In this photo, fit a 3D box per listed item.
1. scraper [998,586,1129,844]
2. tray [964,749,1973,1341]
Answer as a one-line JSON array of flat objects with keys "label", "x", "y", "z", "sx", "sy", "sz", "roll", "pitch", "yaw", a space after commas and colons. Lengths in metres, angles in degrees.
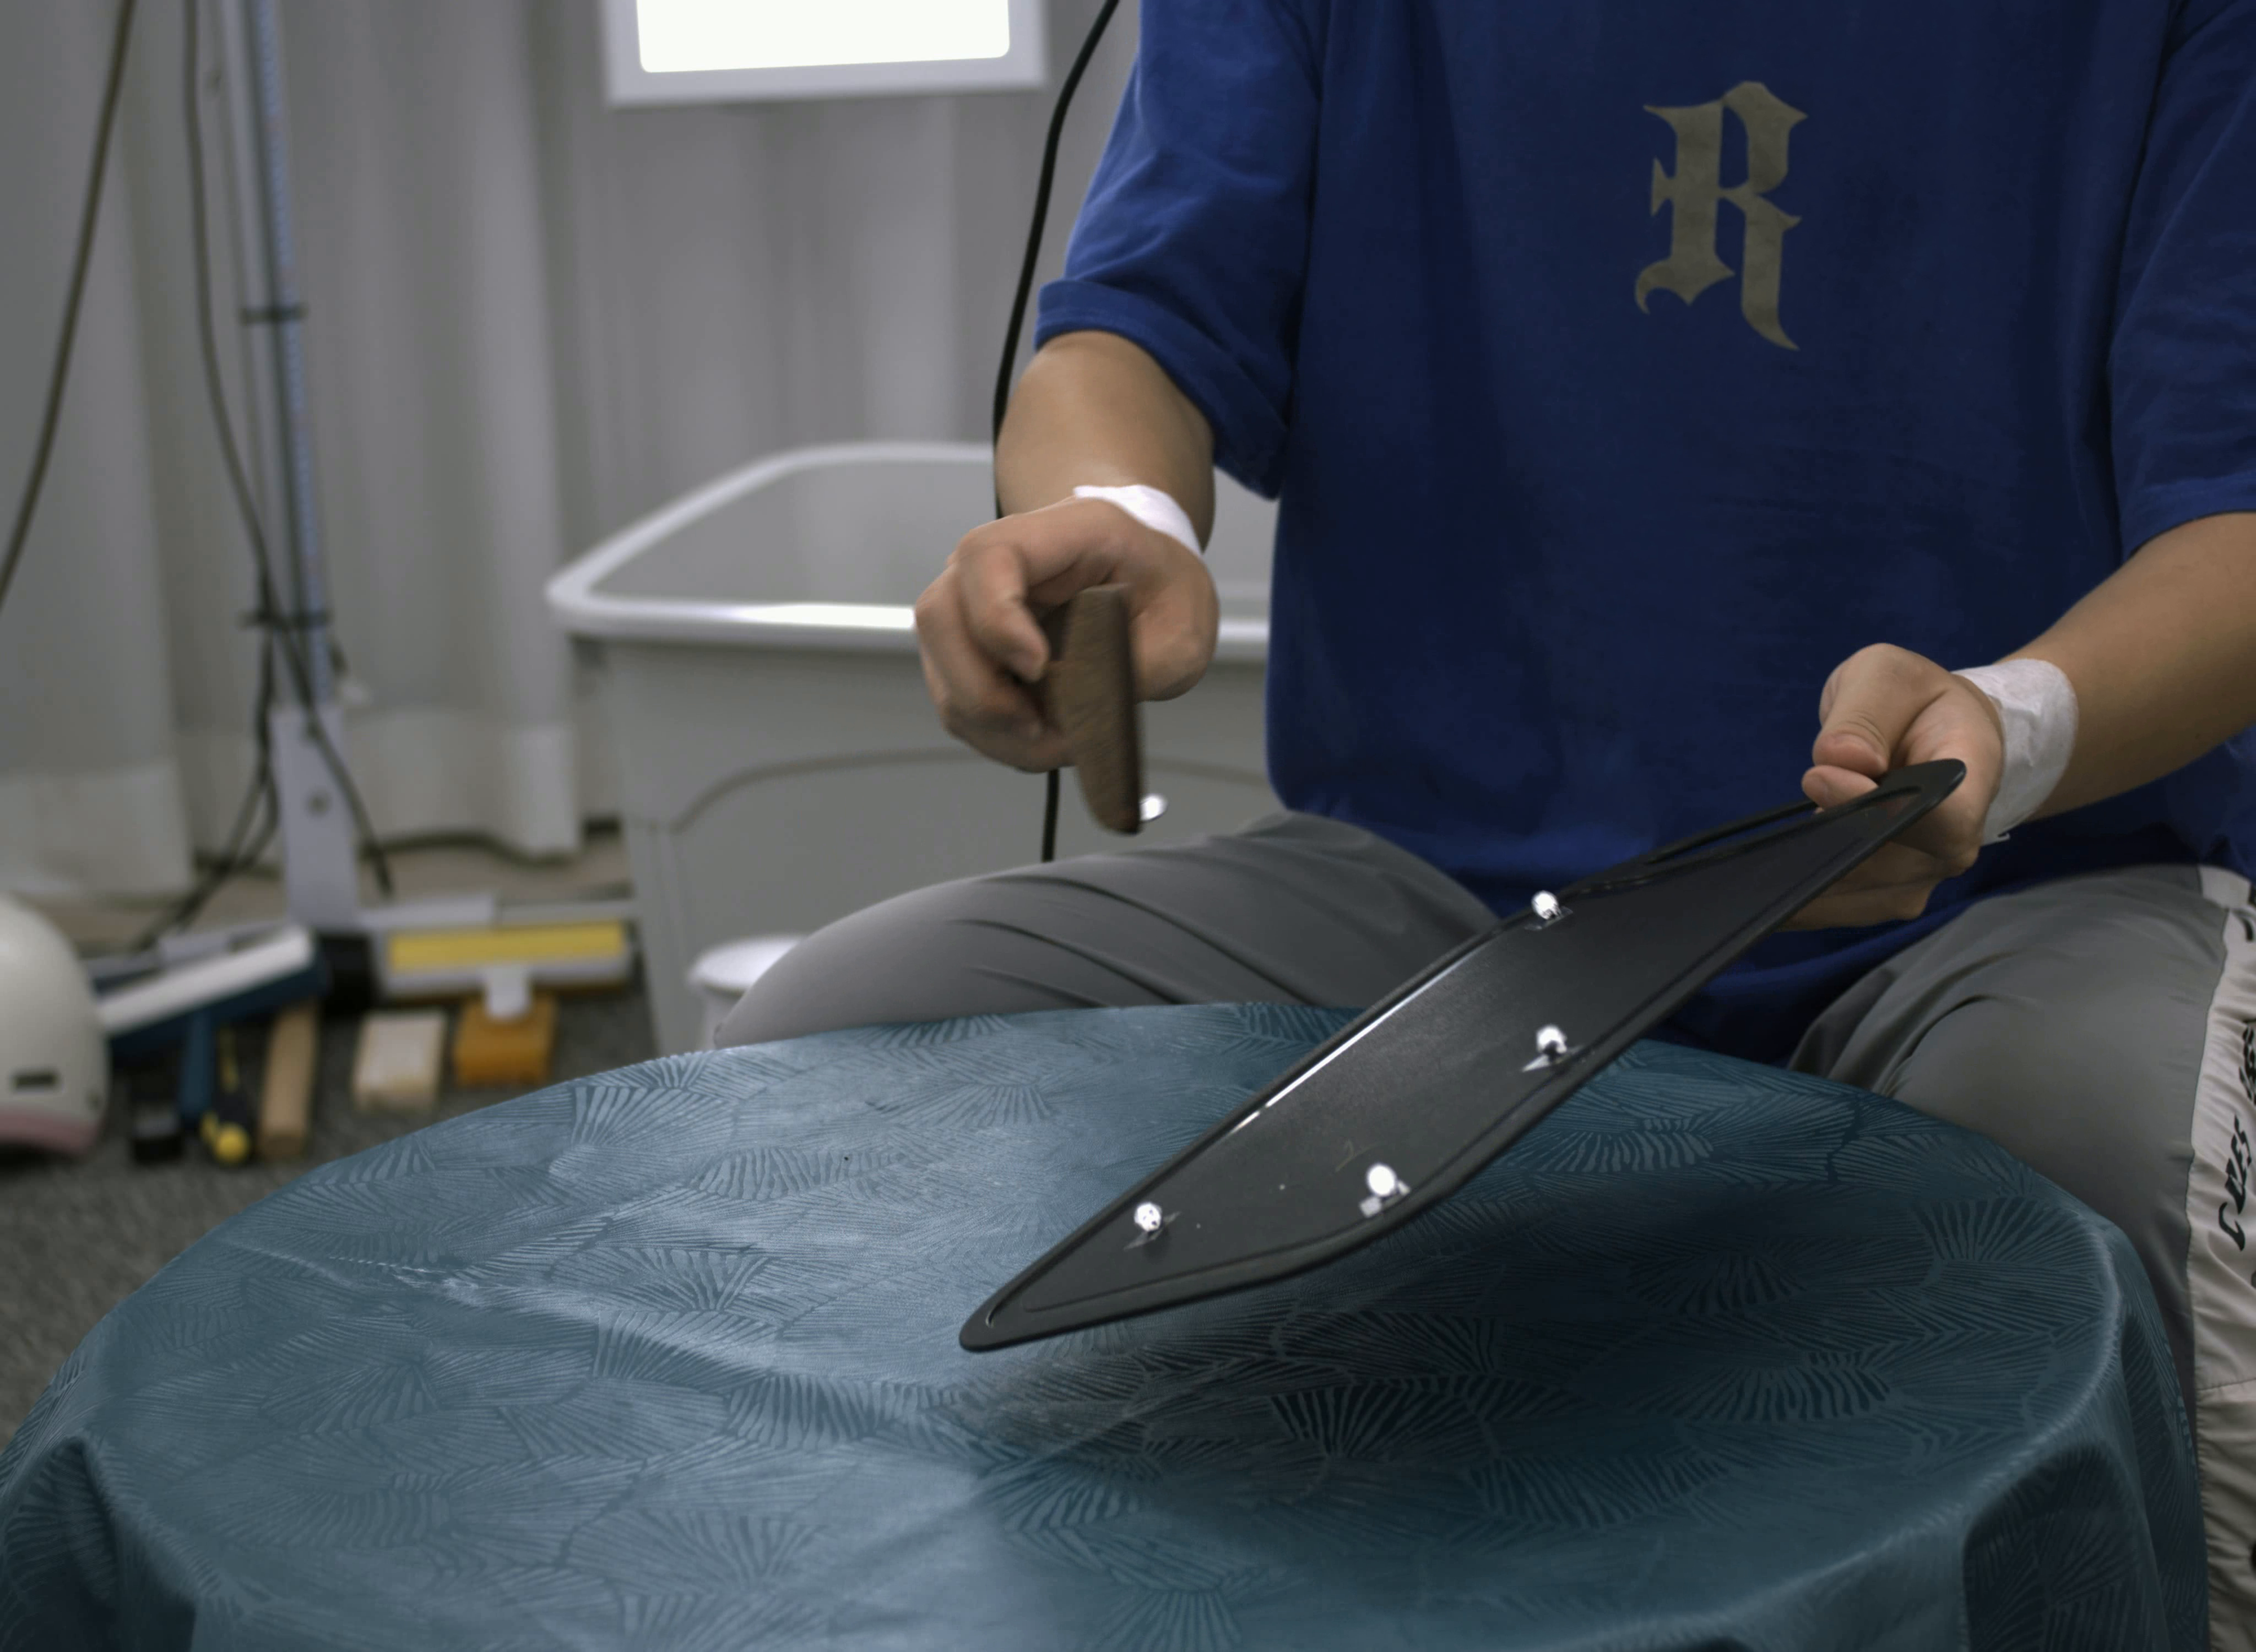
[{"label": "scraper", "x": -0.023, "y": -0.038, "z": 1.684, "sx": 0.011, "sy": 0.076, "sz": 0.212, "roll": -7, "pitch": 4, "yaw": -8}, {"label": "tray", "x": 0.103, "y": 0.057, "z": 1.562, "sx": 0.326, "sy": 0.010, "sz": 0.210, "roll": -34, "pitch": 9, "yaw": -39}]
